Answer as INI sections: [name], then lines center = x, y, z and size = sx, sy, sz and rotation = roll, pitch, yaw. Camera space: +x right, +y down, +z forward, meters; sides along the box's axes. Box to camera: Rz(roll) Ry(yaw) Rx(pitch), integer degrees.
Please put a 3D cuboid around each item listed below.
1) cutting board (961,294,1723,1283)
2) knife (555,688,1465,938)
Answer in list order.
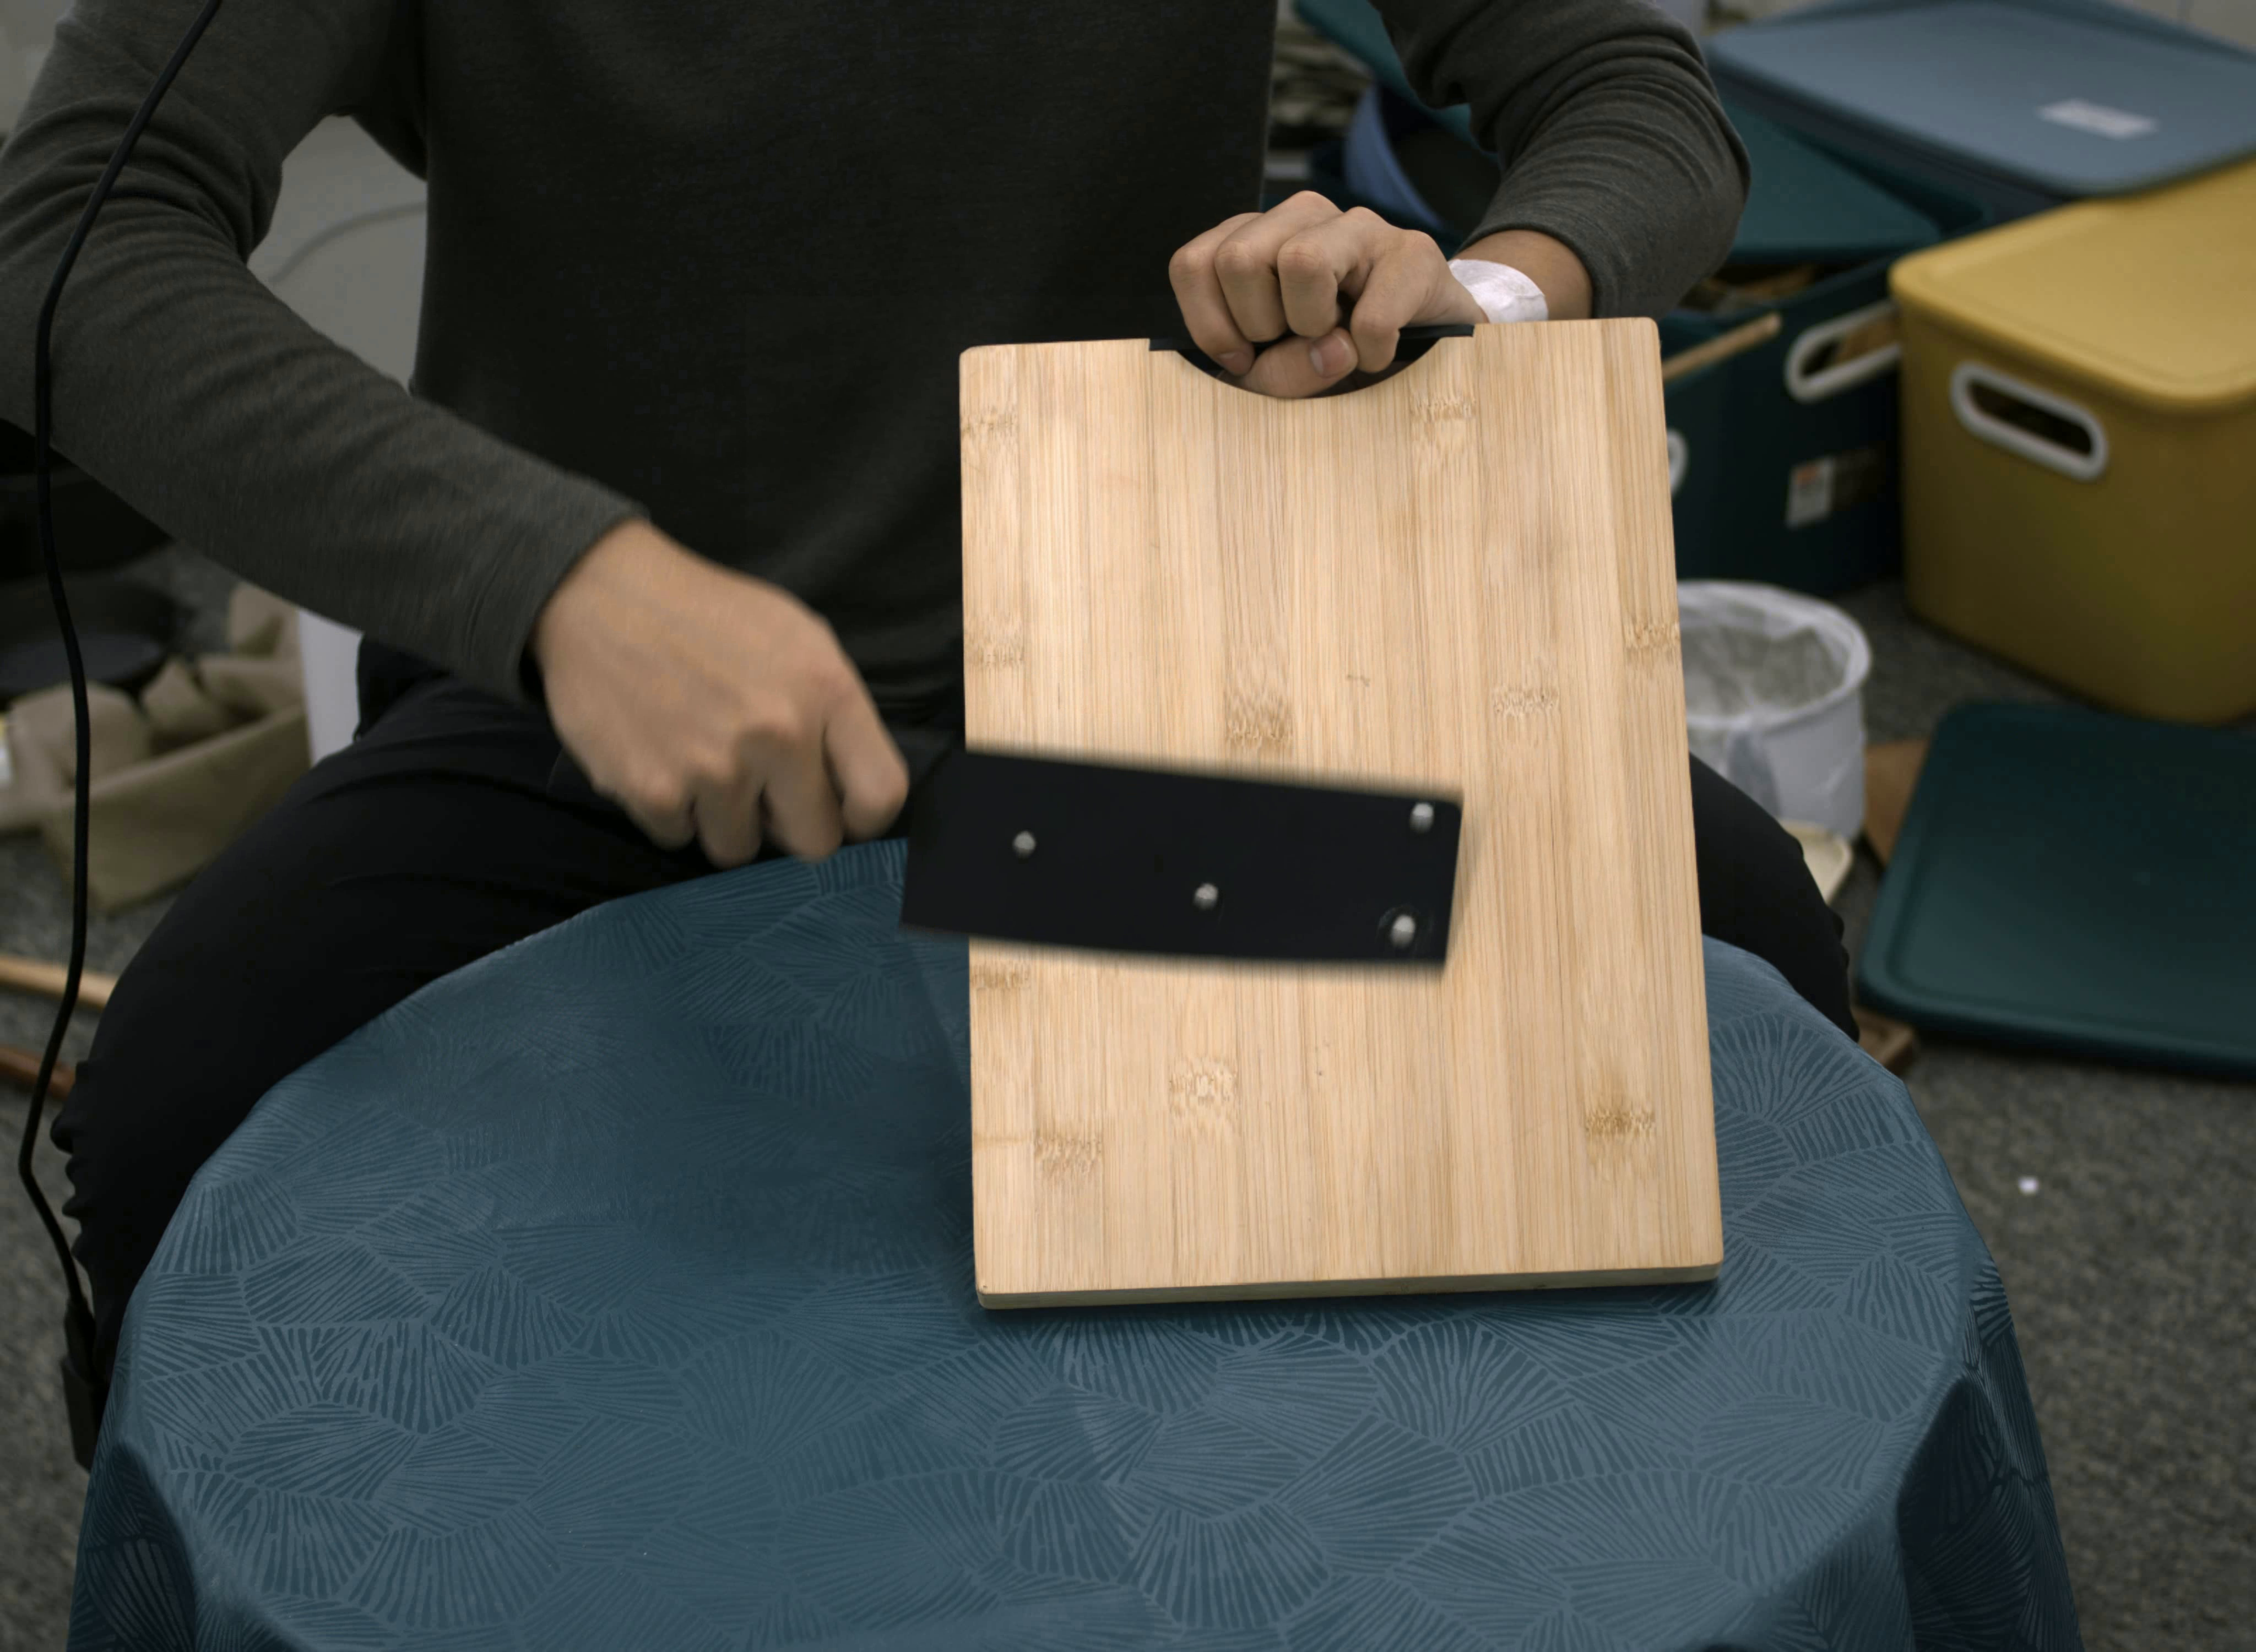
[cutting board]
center = 0.066, -0.014, 1.865
size = 0.249, 0.023, 0.354
rotation = -3, 66, 0
[knife]
center = -0.039, -0.006, 1.846
size = 0.301, 0.082, 0.020
rotation = 9, -14, 5
